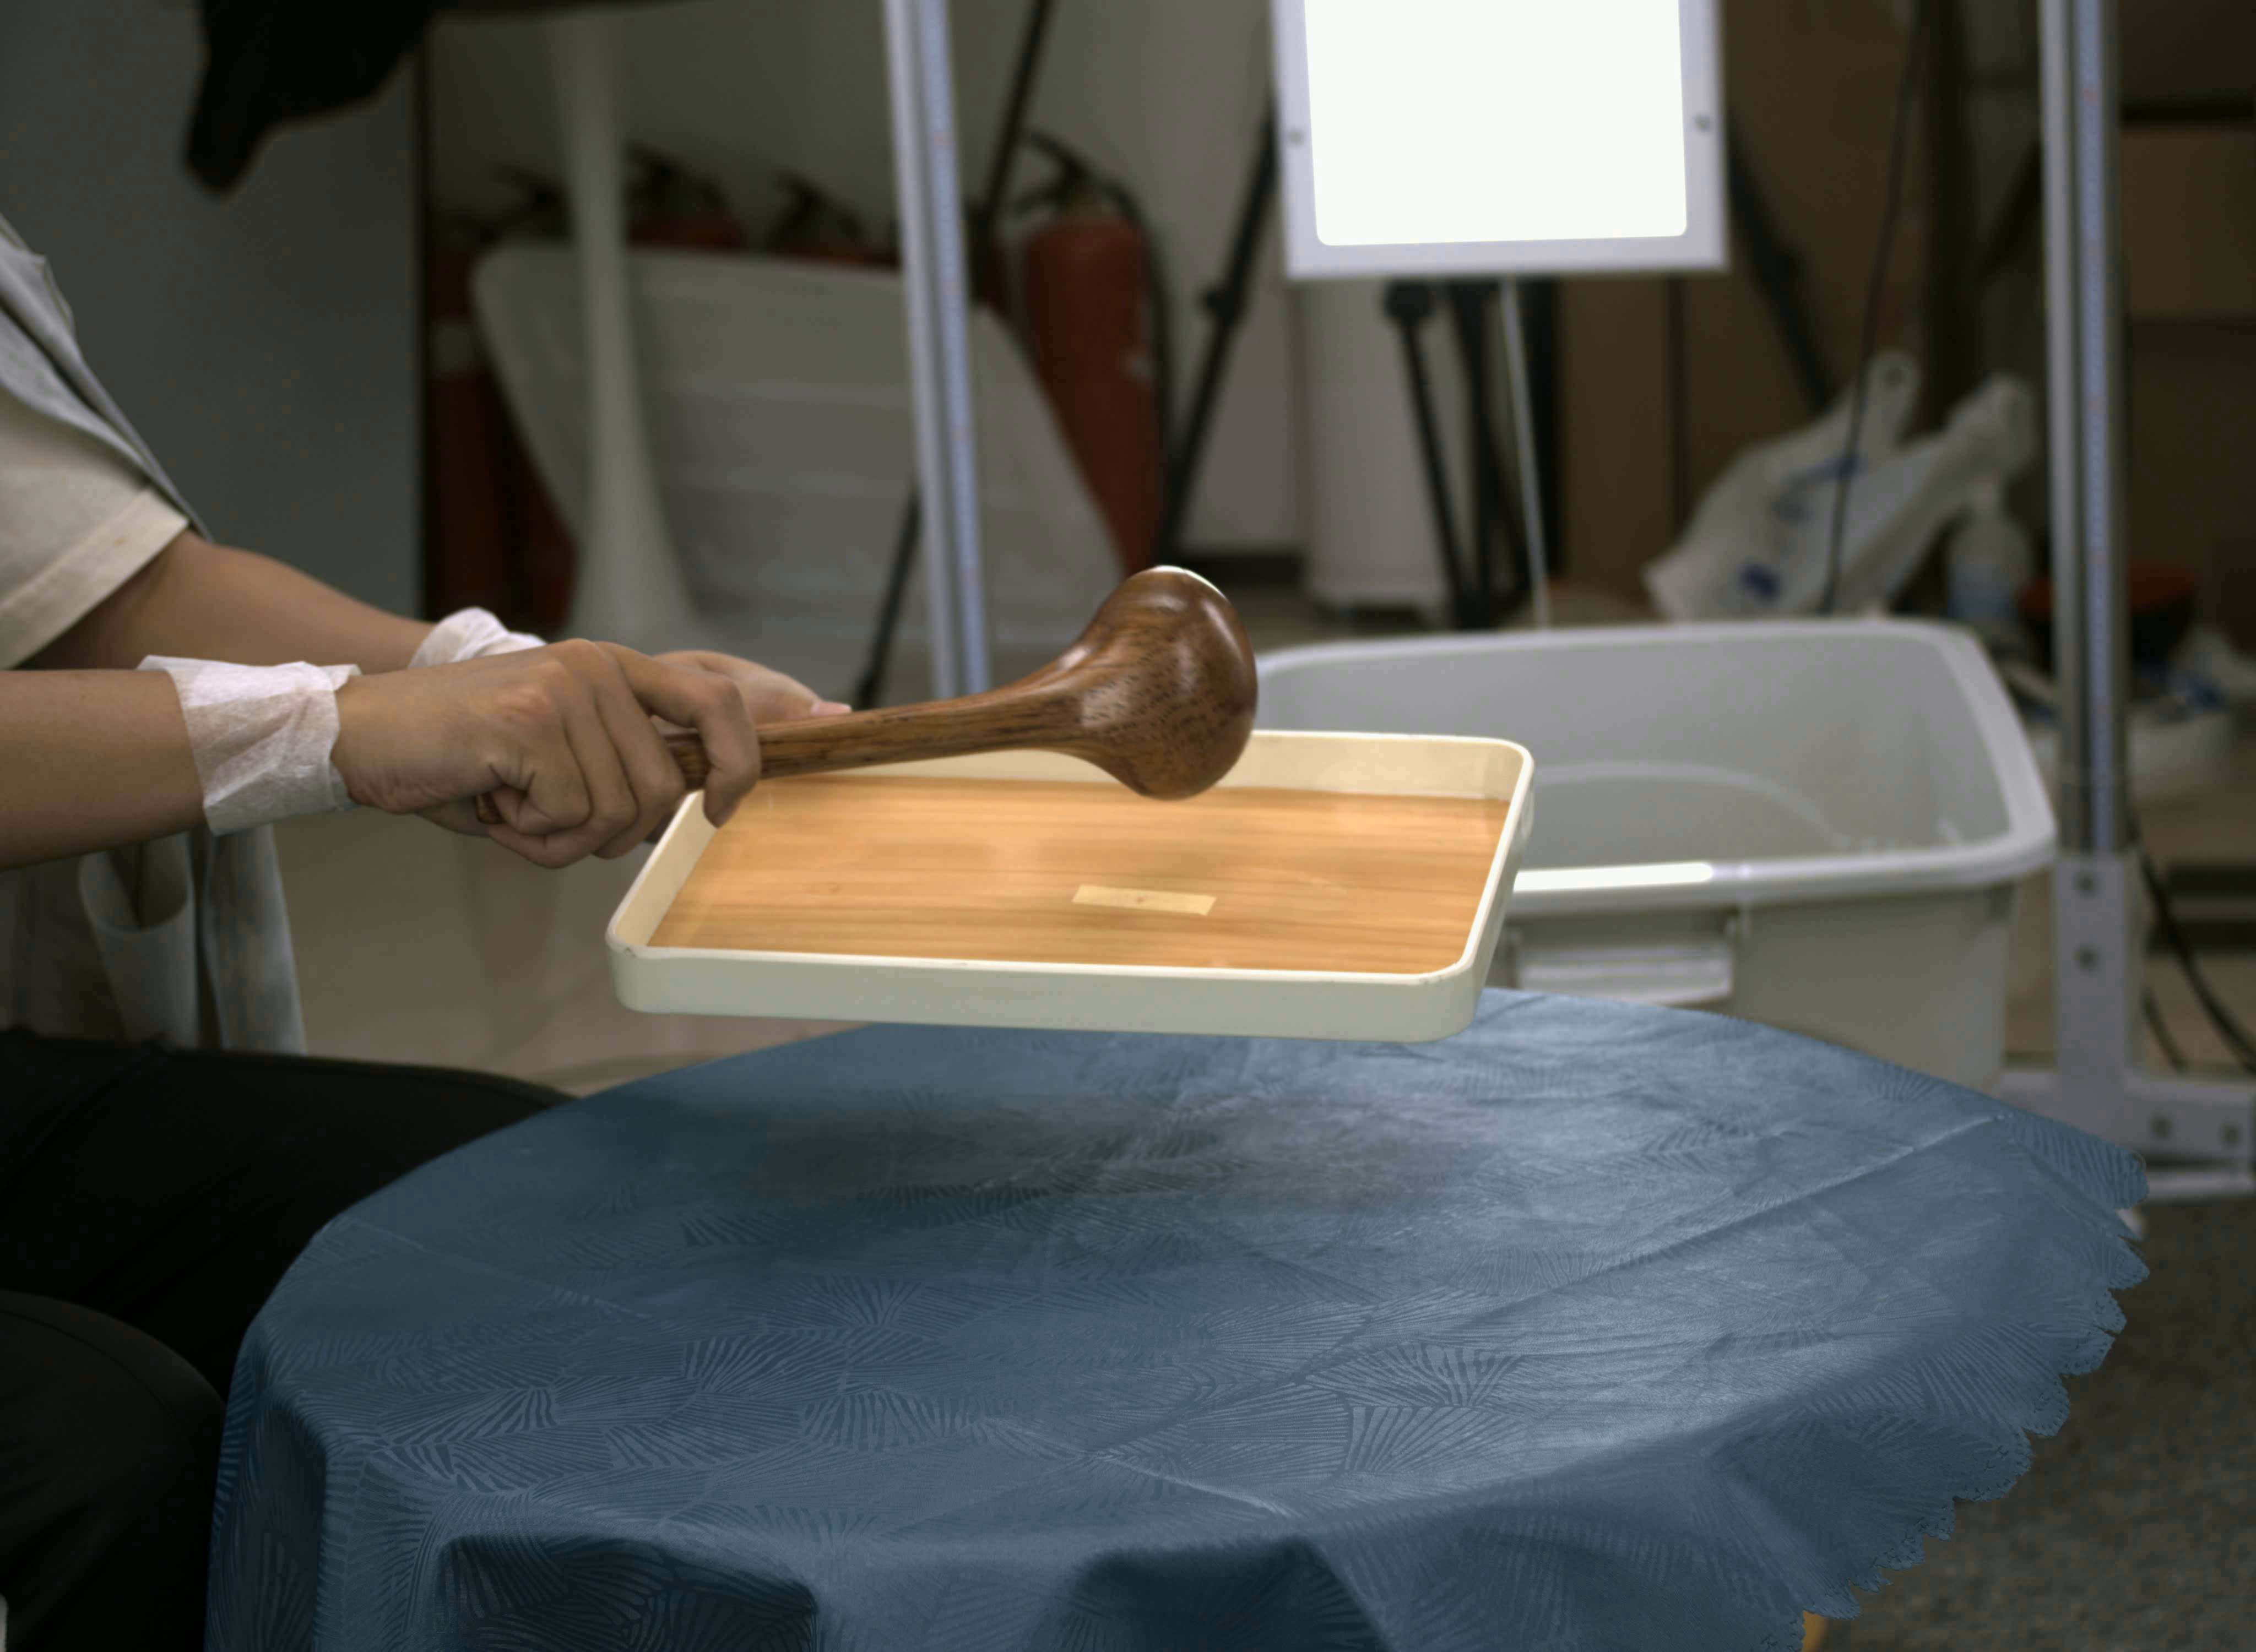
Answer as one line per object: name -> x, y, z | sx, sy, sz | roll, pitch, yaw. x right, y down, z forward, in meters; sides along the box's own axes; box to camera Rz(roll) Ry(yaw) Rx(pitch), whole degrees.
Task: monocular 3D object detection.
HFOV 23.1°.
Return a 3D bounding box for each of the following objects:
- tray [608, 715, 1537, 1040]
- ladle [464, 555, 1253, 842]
tray -> -0.015, 0.016, 1.919 | 0.303, 0.027, 0.189 | 2, 27, 14
ladle -> -0.091, -0.035, 1.881 | 0.273, 0.082, 0.077 | -10, 2, -1
